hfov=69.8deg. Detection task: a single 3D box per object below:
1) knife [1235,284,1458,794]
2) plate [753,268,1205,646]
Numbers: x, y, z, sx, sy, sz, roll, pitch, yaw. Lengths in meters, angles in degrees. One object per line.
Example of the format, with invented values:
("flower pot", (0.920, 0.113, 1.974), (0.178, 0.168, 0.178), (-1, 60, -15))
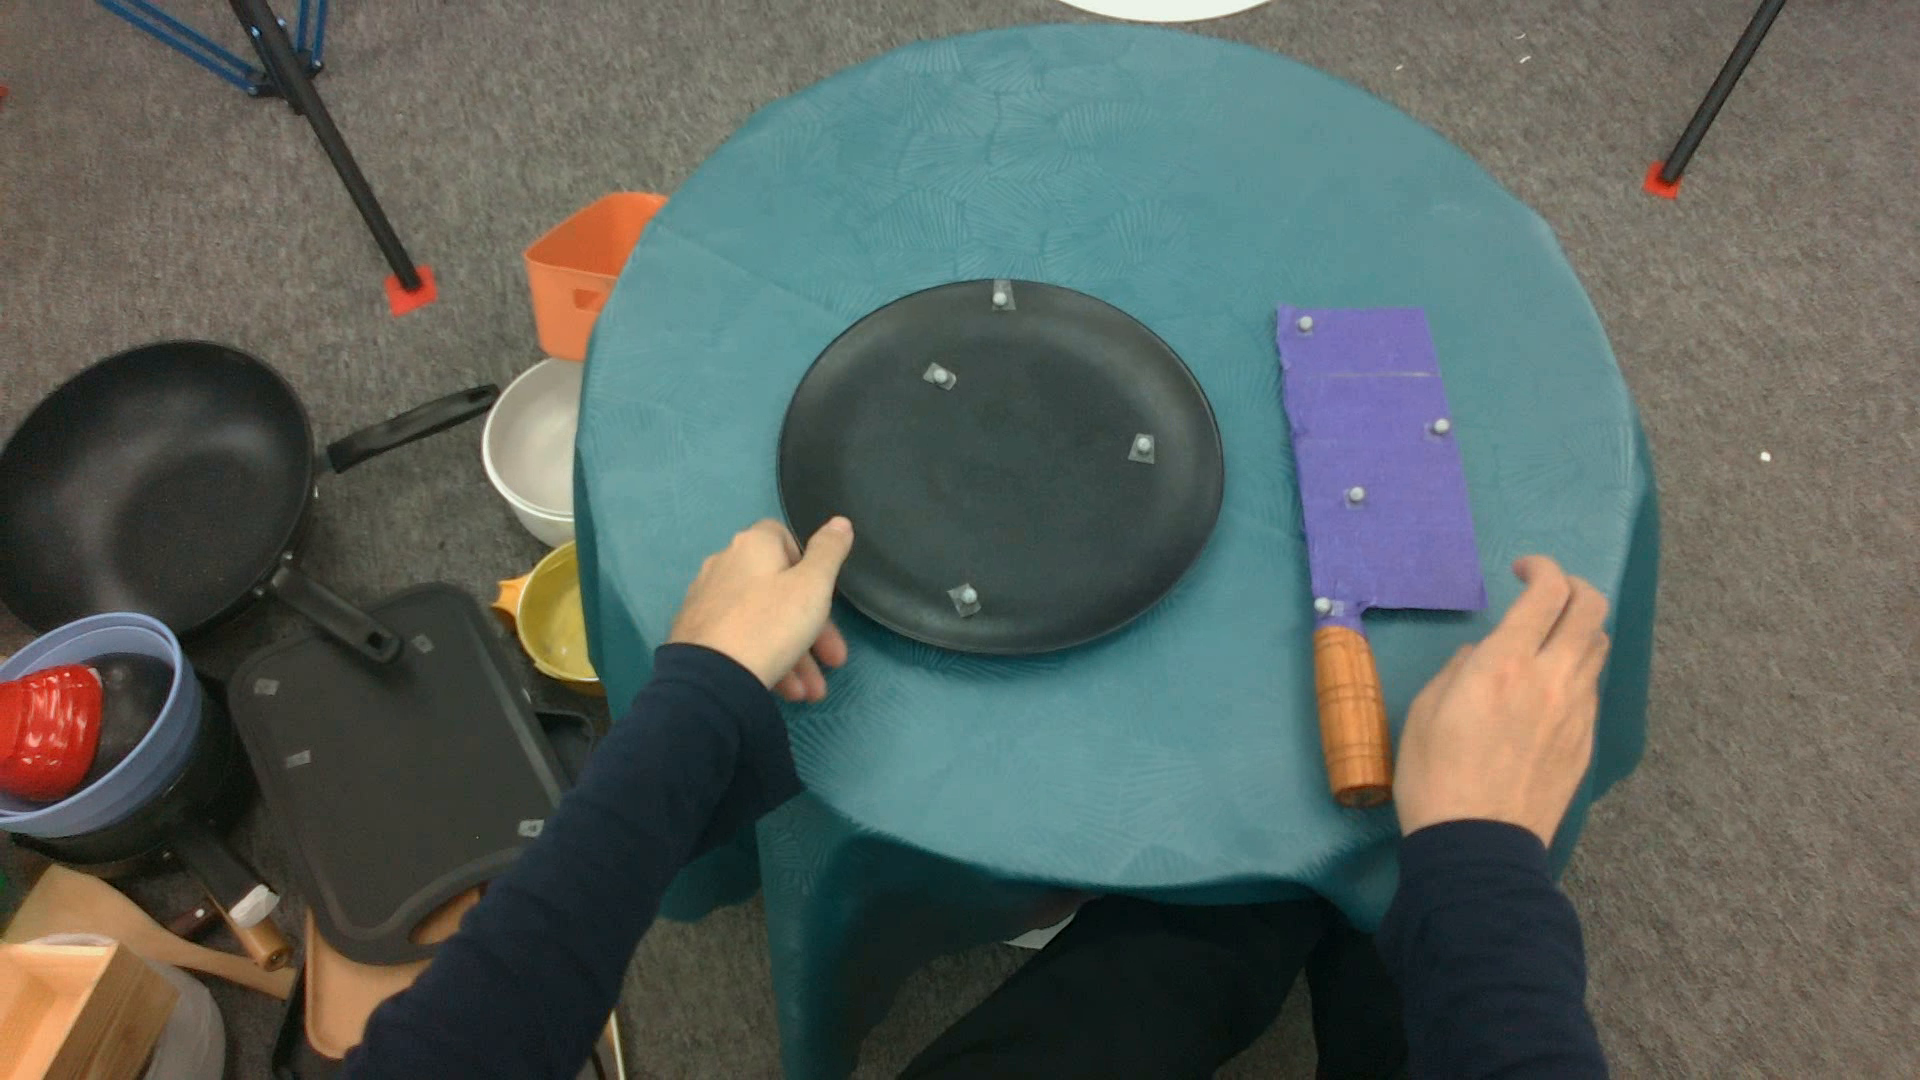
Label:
("knife", (0.215, -0.018, 0.738), (0.104, 0.032, 0.316), (1, 60, -1))
("plate", (0.011, -0.049, 0.752), (0.244, 0.023, 0.245), (1, 60, -1))
